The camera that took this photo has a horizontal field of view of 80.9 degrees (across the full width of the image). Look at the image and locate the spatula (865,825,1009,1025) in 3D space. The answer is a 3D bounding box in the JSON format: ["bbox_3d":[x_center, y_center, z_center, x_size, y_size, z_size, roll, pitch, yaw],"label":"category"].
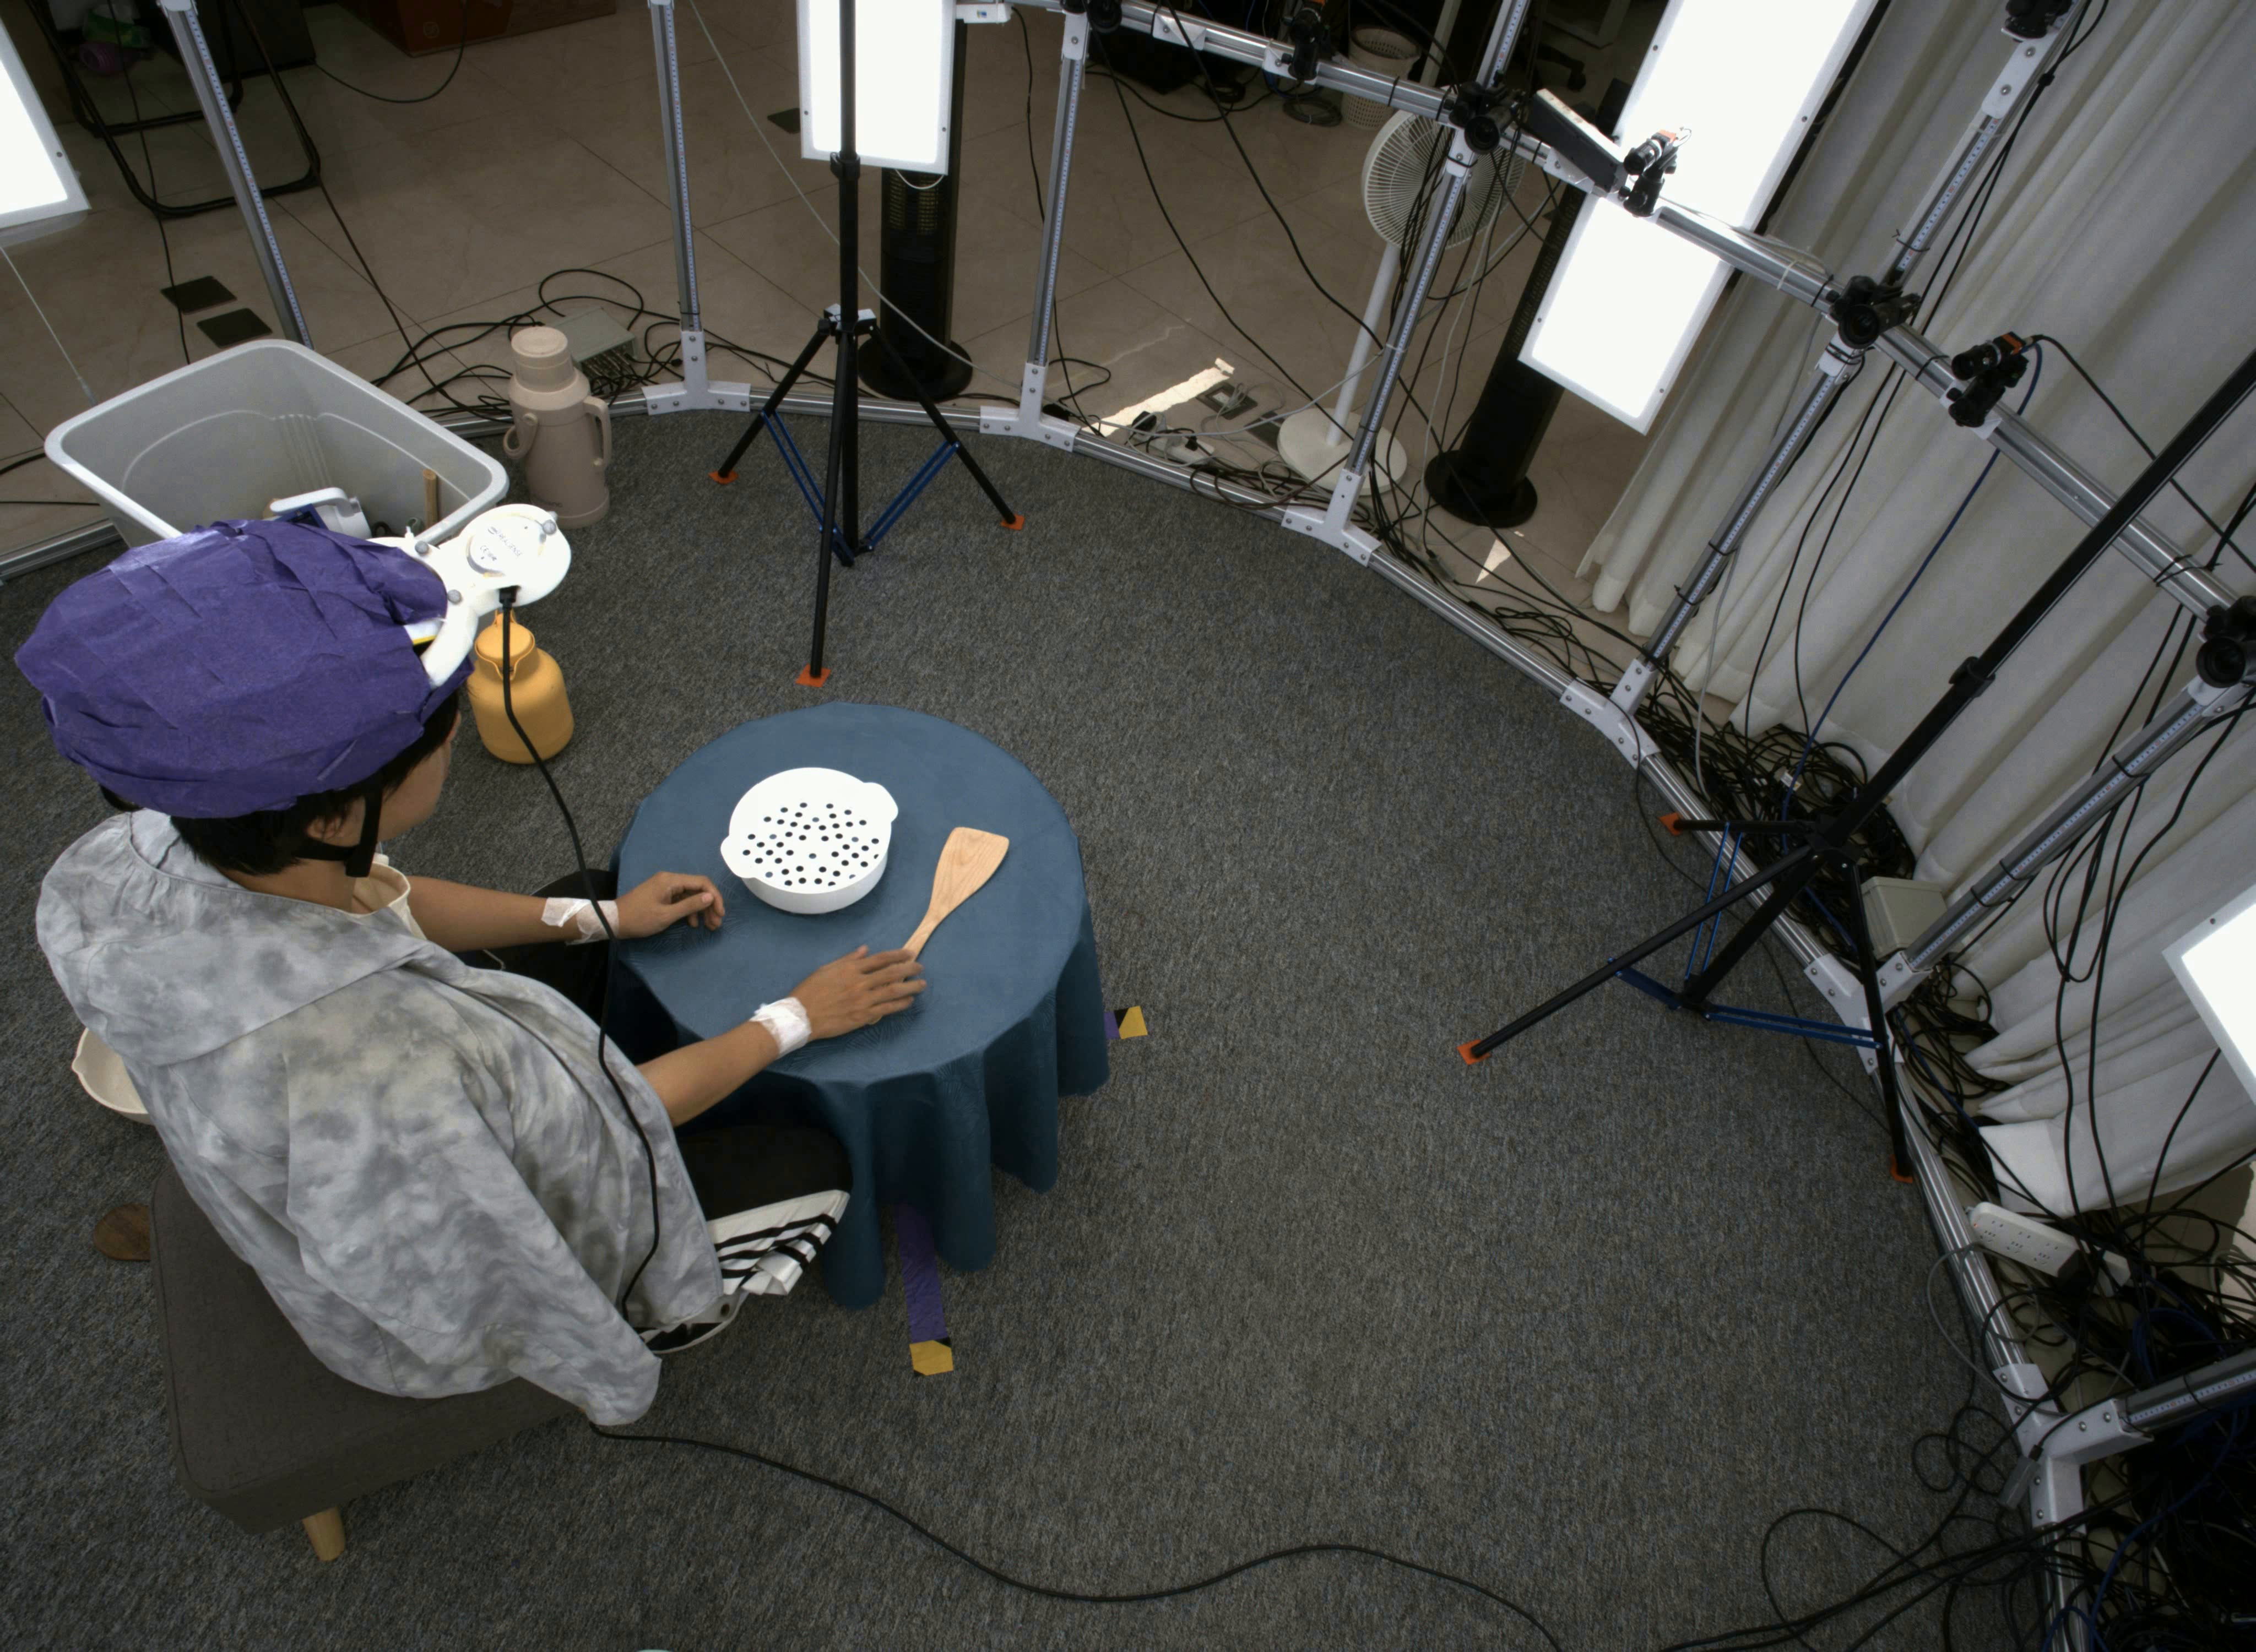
[{"bbox_3d":[-0.253,0.119,1.669,0.079,0.017,0.325,23,52,5],"label":"spatula"}]

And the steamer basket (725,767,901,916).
[{"bbox_3d":[-0.403,0.019,1.675,0.231,0.071,0.196,-25,61,-27],"label":"steamer basket"}]
